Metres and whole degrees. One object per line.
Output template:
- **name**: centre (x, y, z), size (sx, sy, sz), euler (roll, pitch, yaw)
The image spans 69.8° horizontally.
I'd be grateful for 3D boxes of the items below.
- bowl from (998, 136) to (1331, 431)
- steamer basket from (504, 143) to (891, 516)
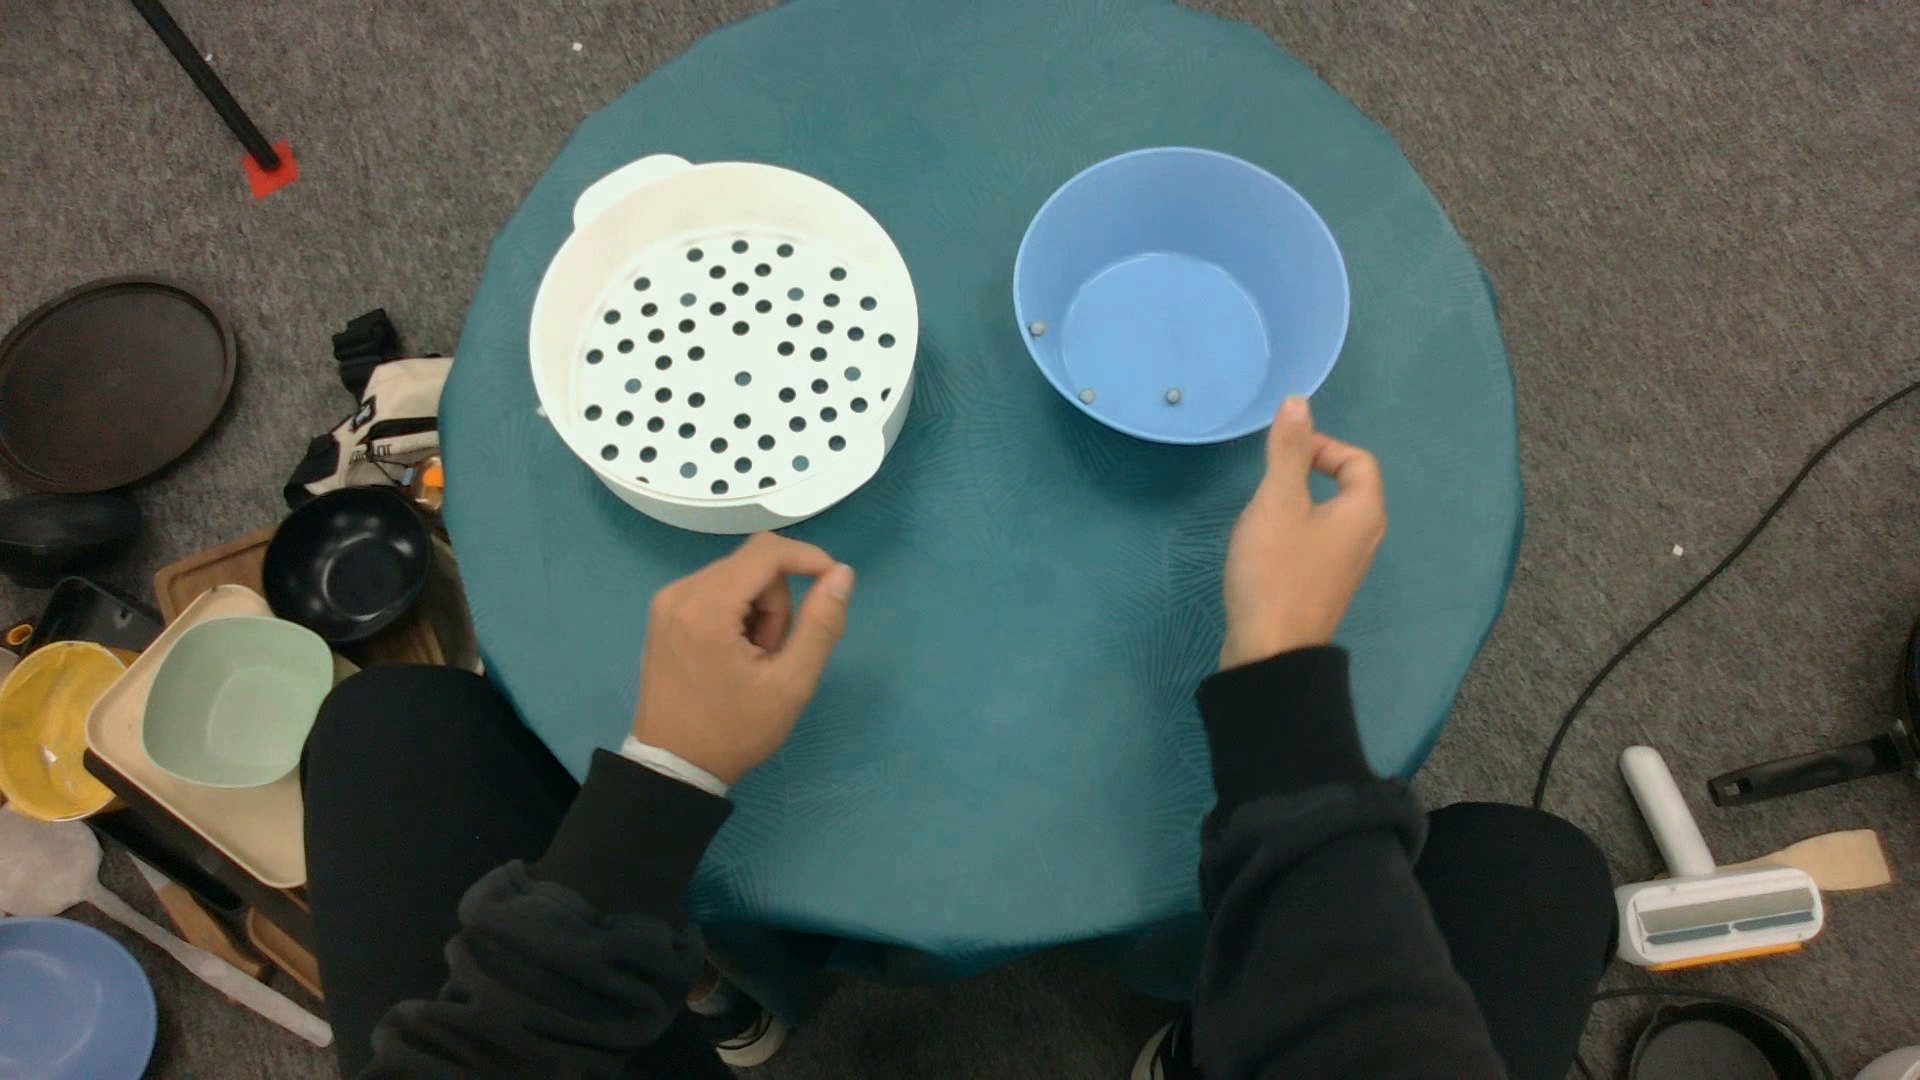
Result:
- **bowl**: centre (0.108, -0.128, 0.754), size (0.176, 0.070, 0.176), euler (0, 70, 0)
- **steamer basket**: centre (-0.137, -0.111, 0.743), size (0.202, 0.069, 0.231), euler (-33, 72, -12)
